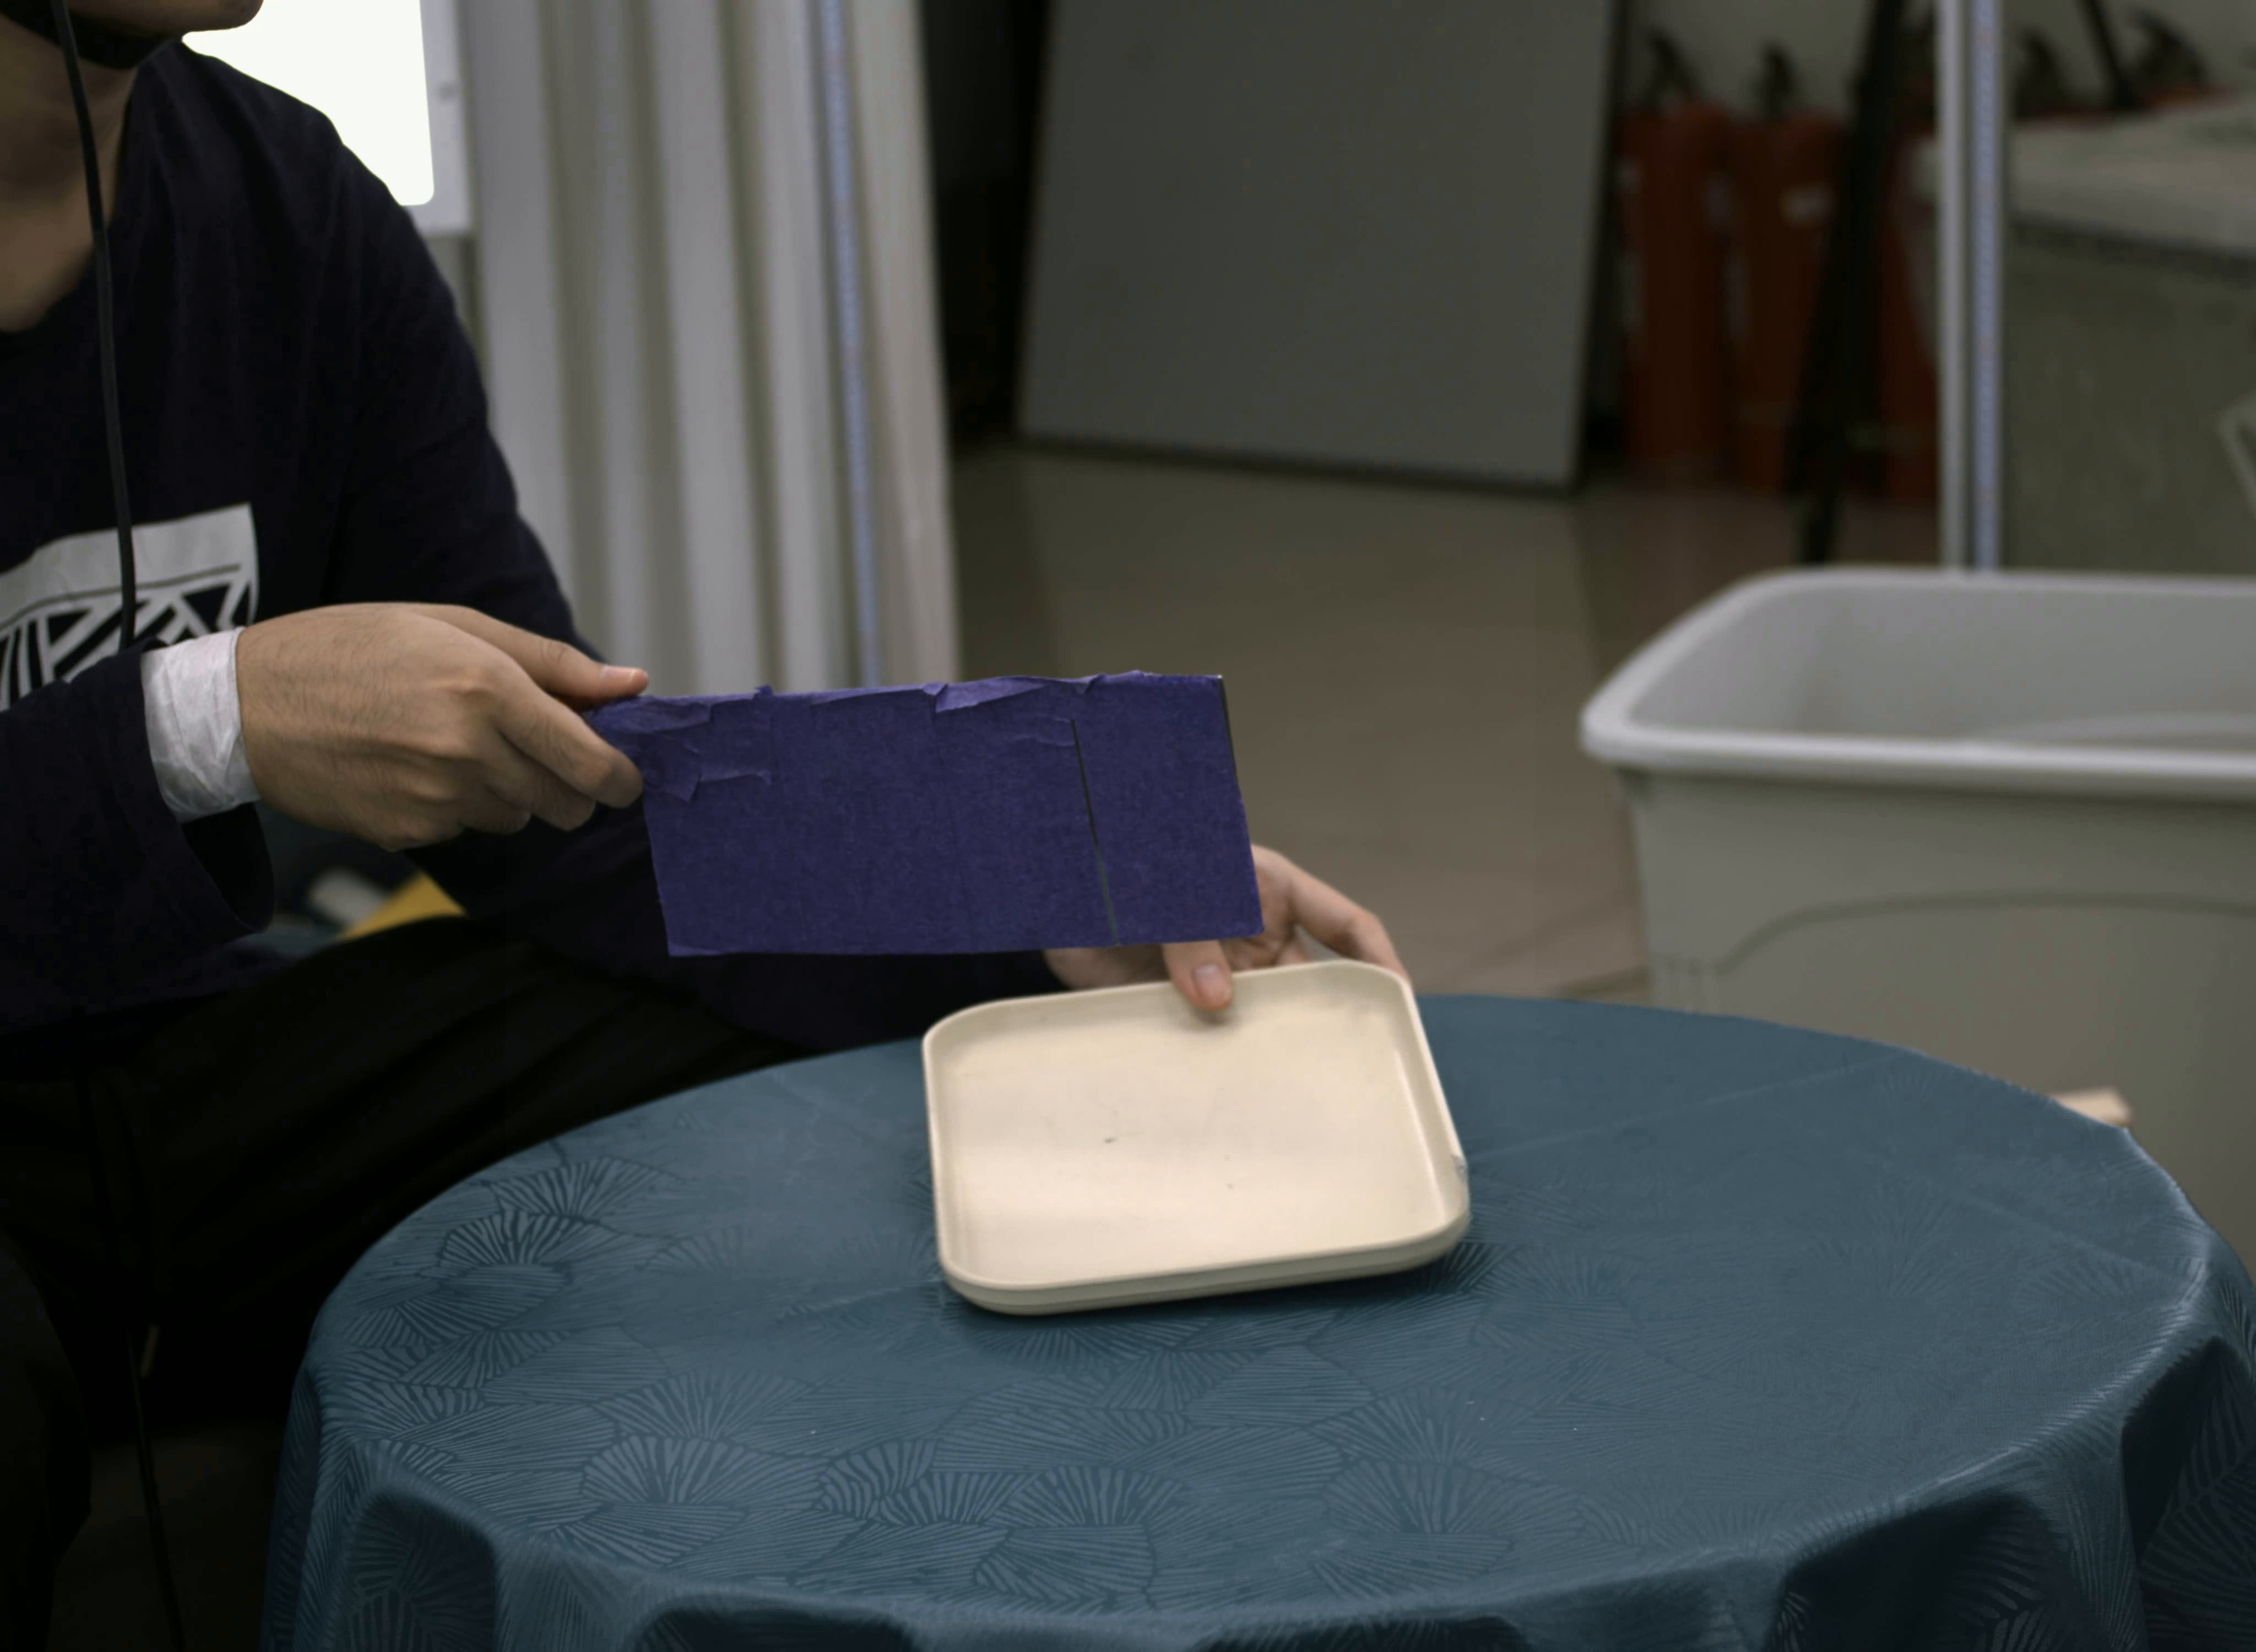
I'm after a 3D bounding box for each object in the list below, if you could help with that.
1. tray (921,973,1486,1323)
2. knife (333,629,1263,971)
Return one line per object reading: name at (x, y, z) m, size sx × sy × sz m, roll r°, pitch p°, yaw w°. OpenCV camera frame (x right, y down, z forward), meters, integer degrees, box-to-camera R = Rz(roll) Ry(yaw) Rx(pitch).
tray at (0.021, 0.104, 1.757) m, size 0.169 × 0.017 × 0.240 m, roll -7°, pitch 19°, yaw -2°
knife at (-0.108, -0.003, 1.729) m, size 0.315 × 0.105 × 0.032 m, roll -3°, pitch 16°, yaw 25°
